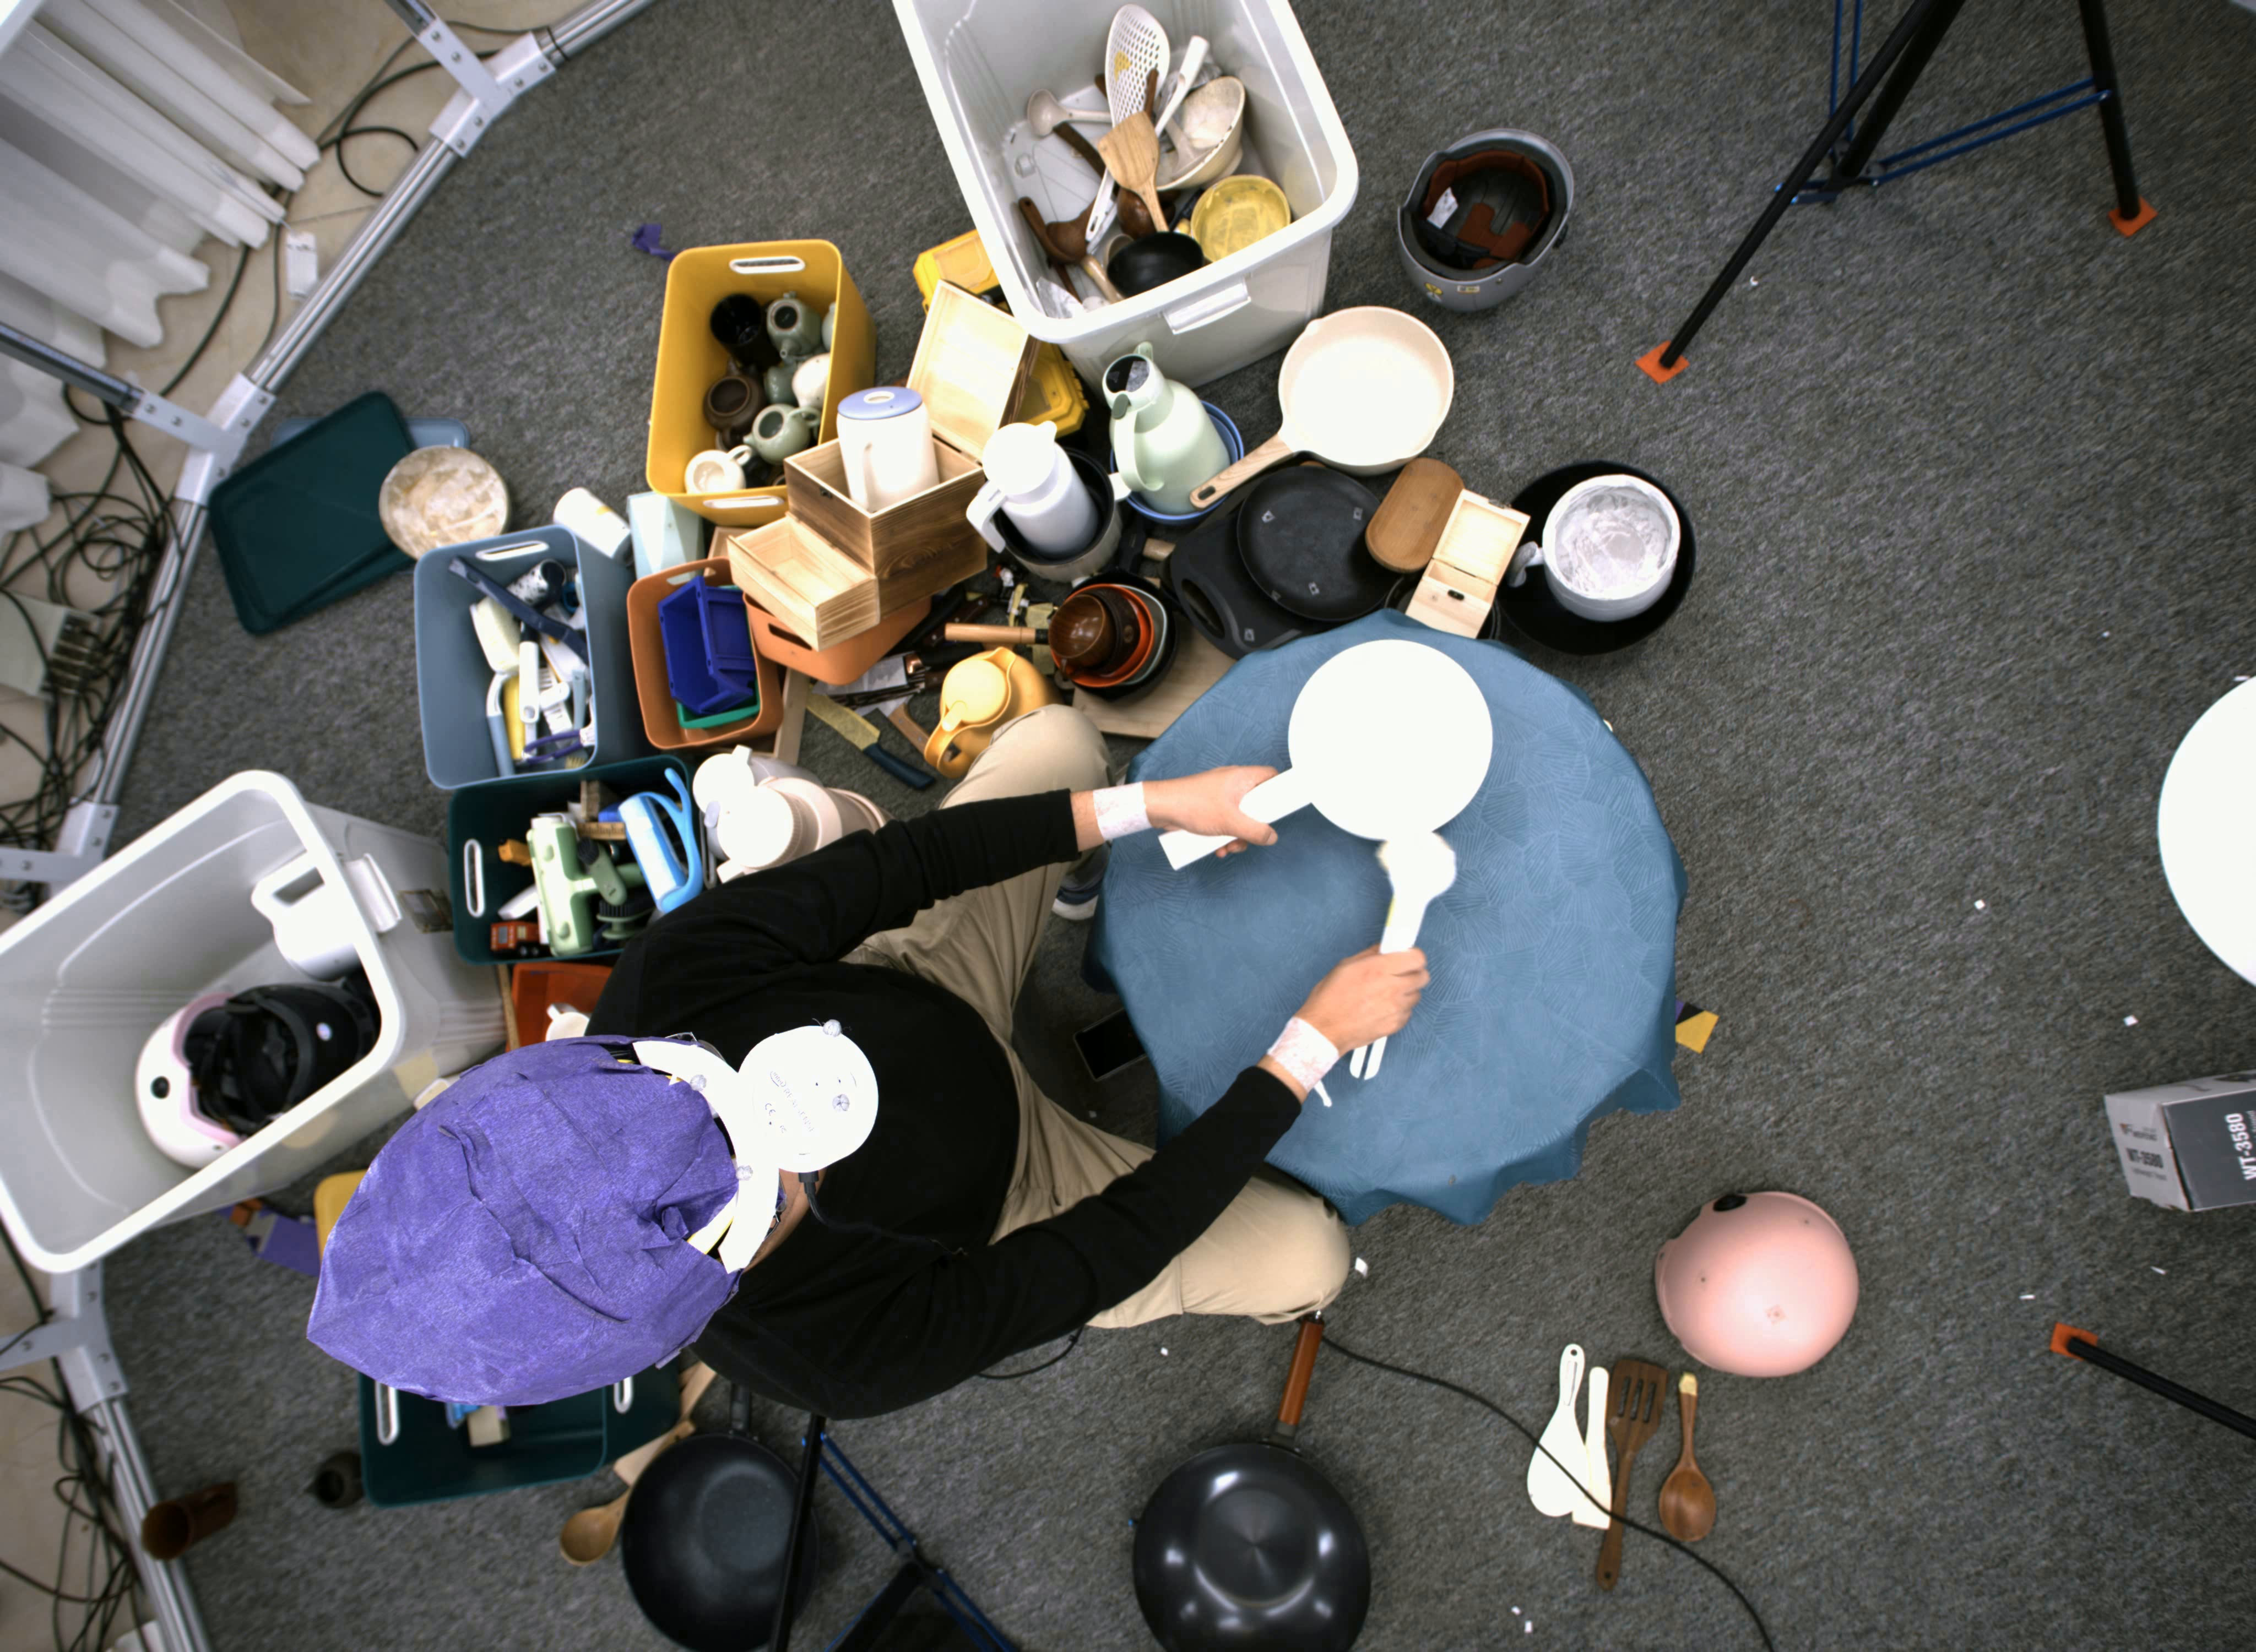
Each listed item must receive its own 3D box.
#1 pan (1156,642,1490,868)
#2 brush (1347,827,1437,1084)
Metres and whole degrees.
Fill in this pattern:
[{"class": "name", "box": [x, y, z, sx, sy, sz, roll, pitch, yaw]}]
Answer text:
[{"class": "pan", "box": [0.200, -0.049, 1.431, 0.357, 0.102, 0.200, -27, 83, 9]}, {"class": "brush", "box": [0.255, 0.127, 1.387, 0.068, 0.055, 0.270, 9, 108, 1]}]
